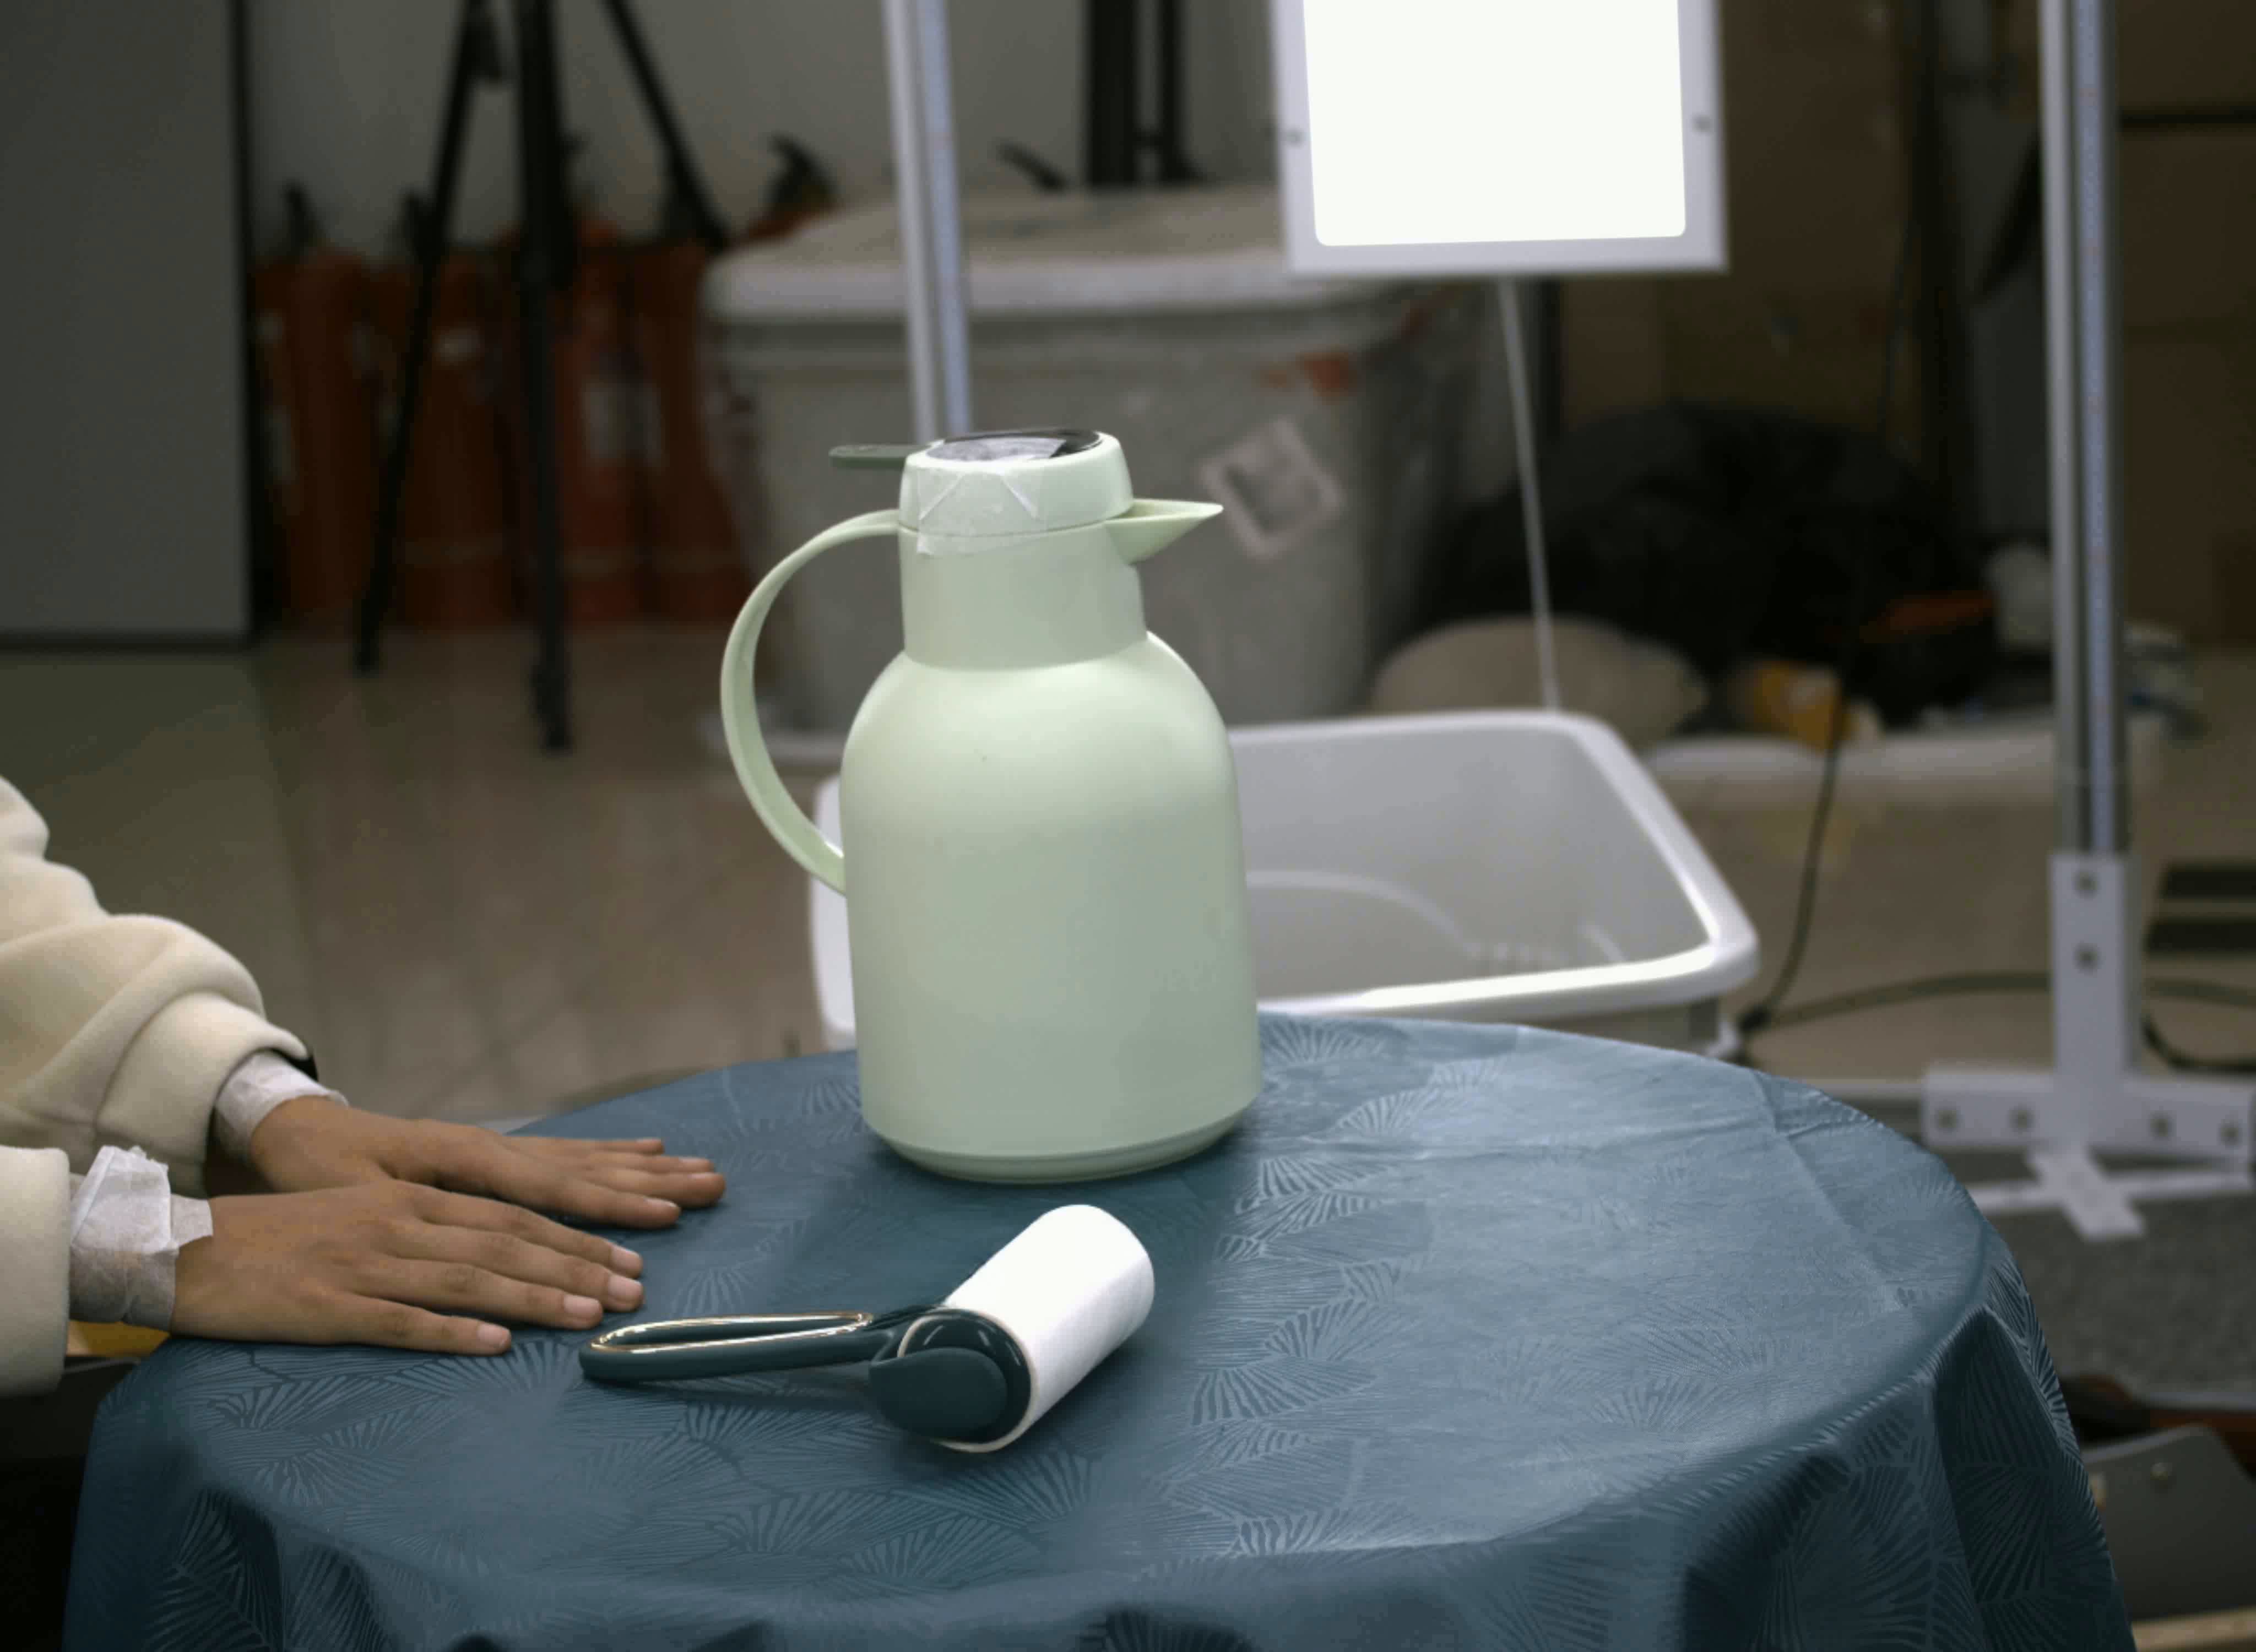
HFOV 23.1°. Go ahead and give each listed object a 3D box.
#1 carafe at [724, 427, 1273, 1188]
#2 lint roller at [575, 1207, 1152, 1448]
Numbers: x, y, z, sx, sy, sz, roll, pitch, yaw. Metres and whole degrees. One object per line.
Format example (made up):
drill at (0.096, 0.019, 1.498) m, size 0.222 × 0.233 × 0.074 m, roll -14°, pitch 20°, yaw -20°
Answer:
carafe at (-0.044, -0.010, 1.948) m, size 0.189 × 0.257 × 0.142 m, roll -4°, pitch 15°, yaw 17°
lint roller at (-0.093, 0.152, 1.726) m, size 0.183 × 0.048 × 0.132 m, roll 1°, pitch 14°, yaw 24°
